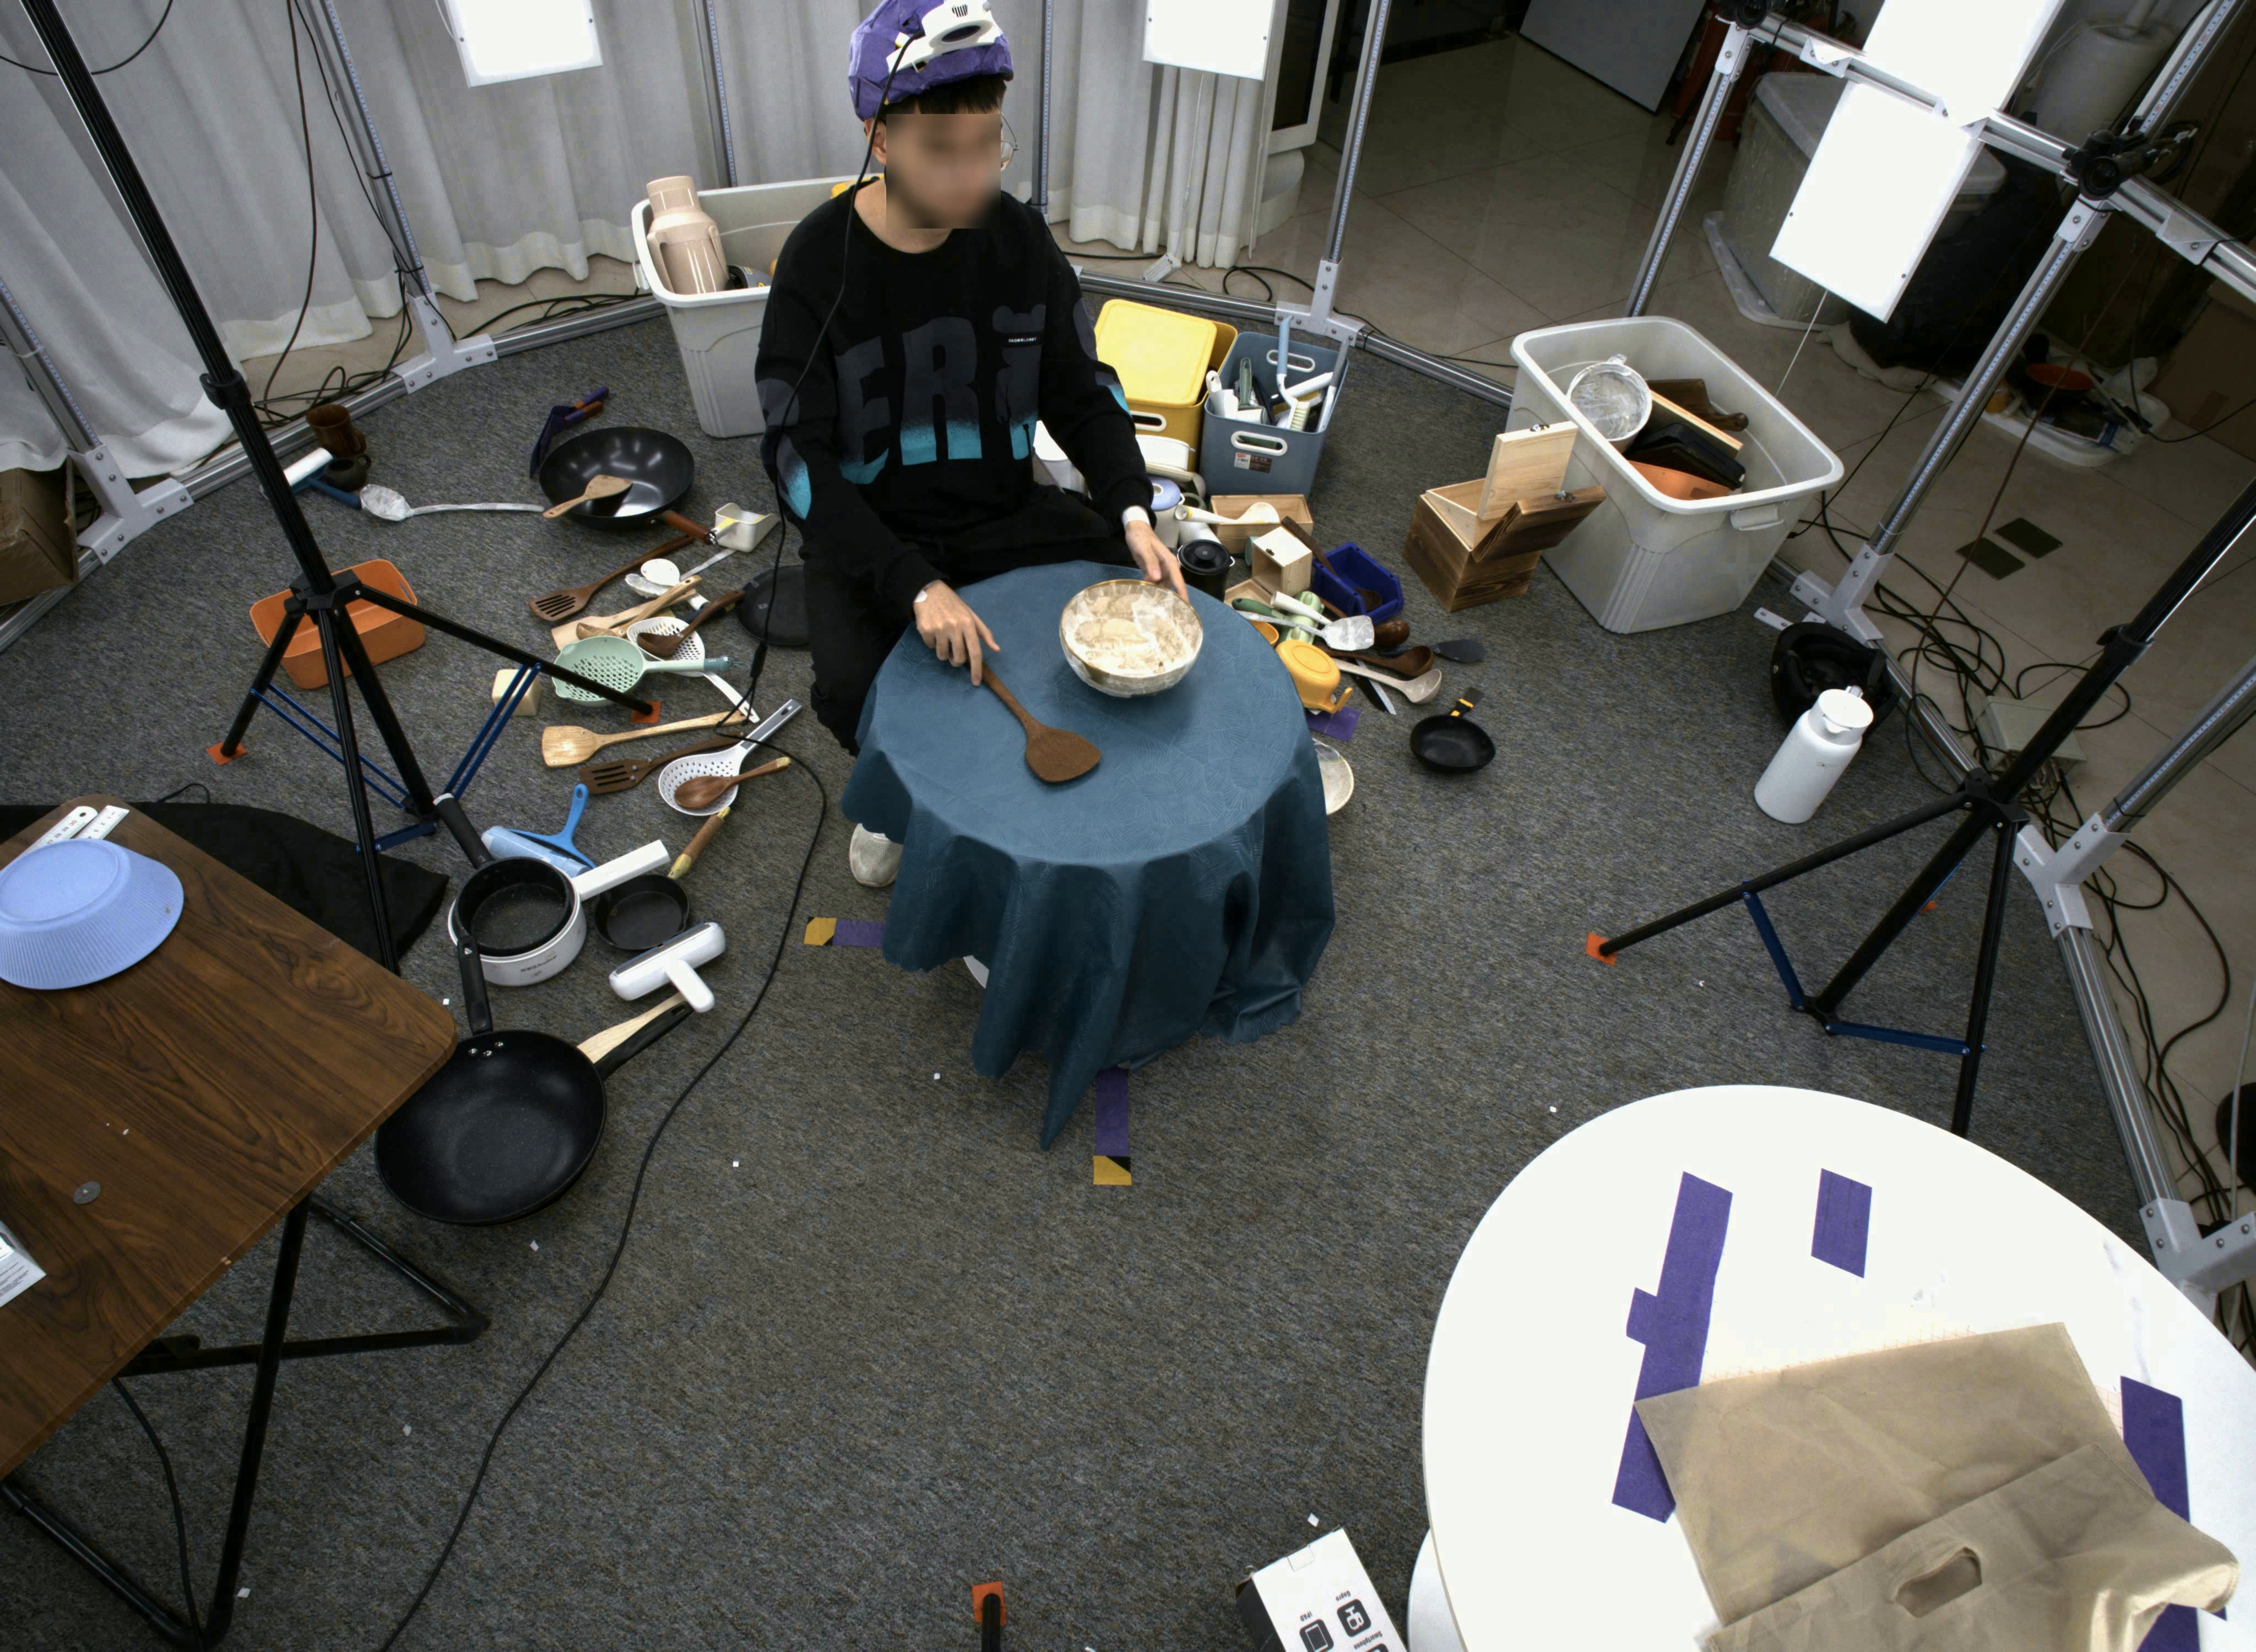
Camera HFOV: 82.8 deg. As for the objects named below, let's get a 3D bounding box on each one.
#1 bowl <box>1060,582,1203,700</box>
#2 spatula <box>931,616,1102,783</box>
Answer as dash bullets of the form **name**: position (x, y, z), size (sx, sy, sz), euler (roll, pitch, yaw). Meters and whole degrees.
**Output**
- **bowl**: position (0.004, -0.253, 1.845), size (0.214, 0.092, 0.220), euler (1, 48, -1)
- **spatula**: position (-0.177, -0.190, 1.828), size (0.096, 0.015, 0.393), euler (-26, 56, -25)
